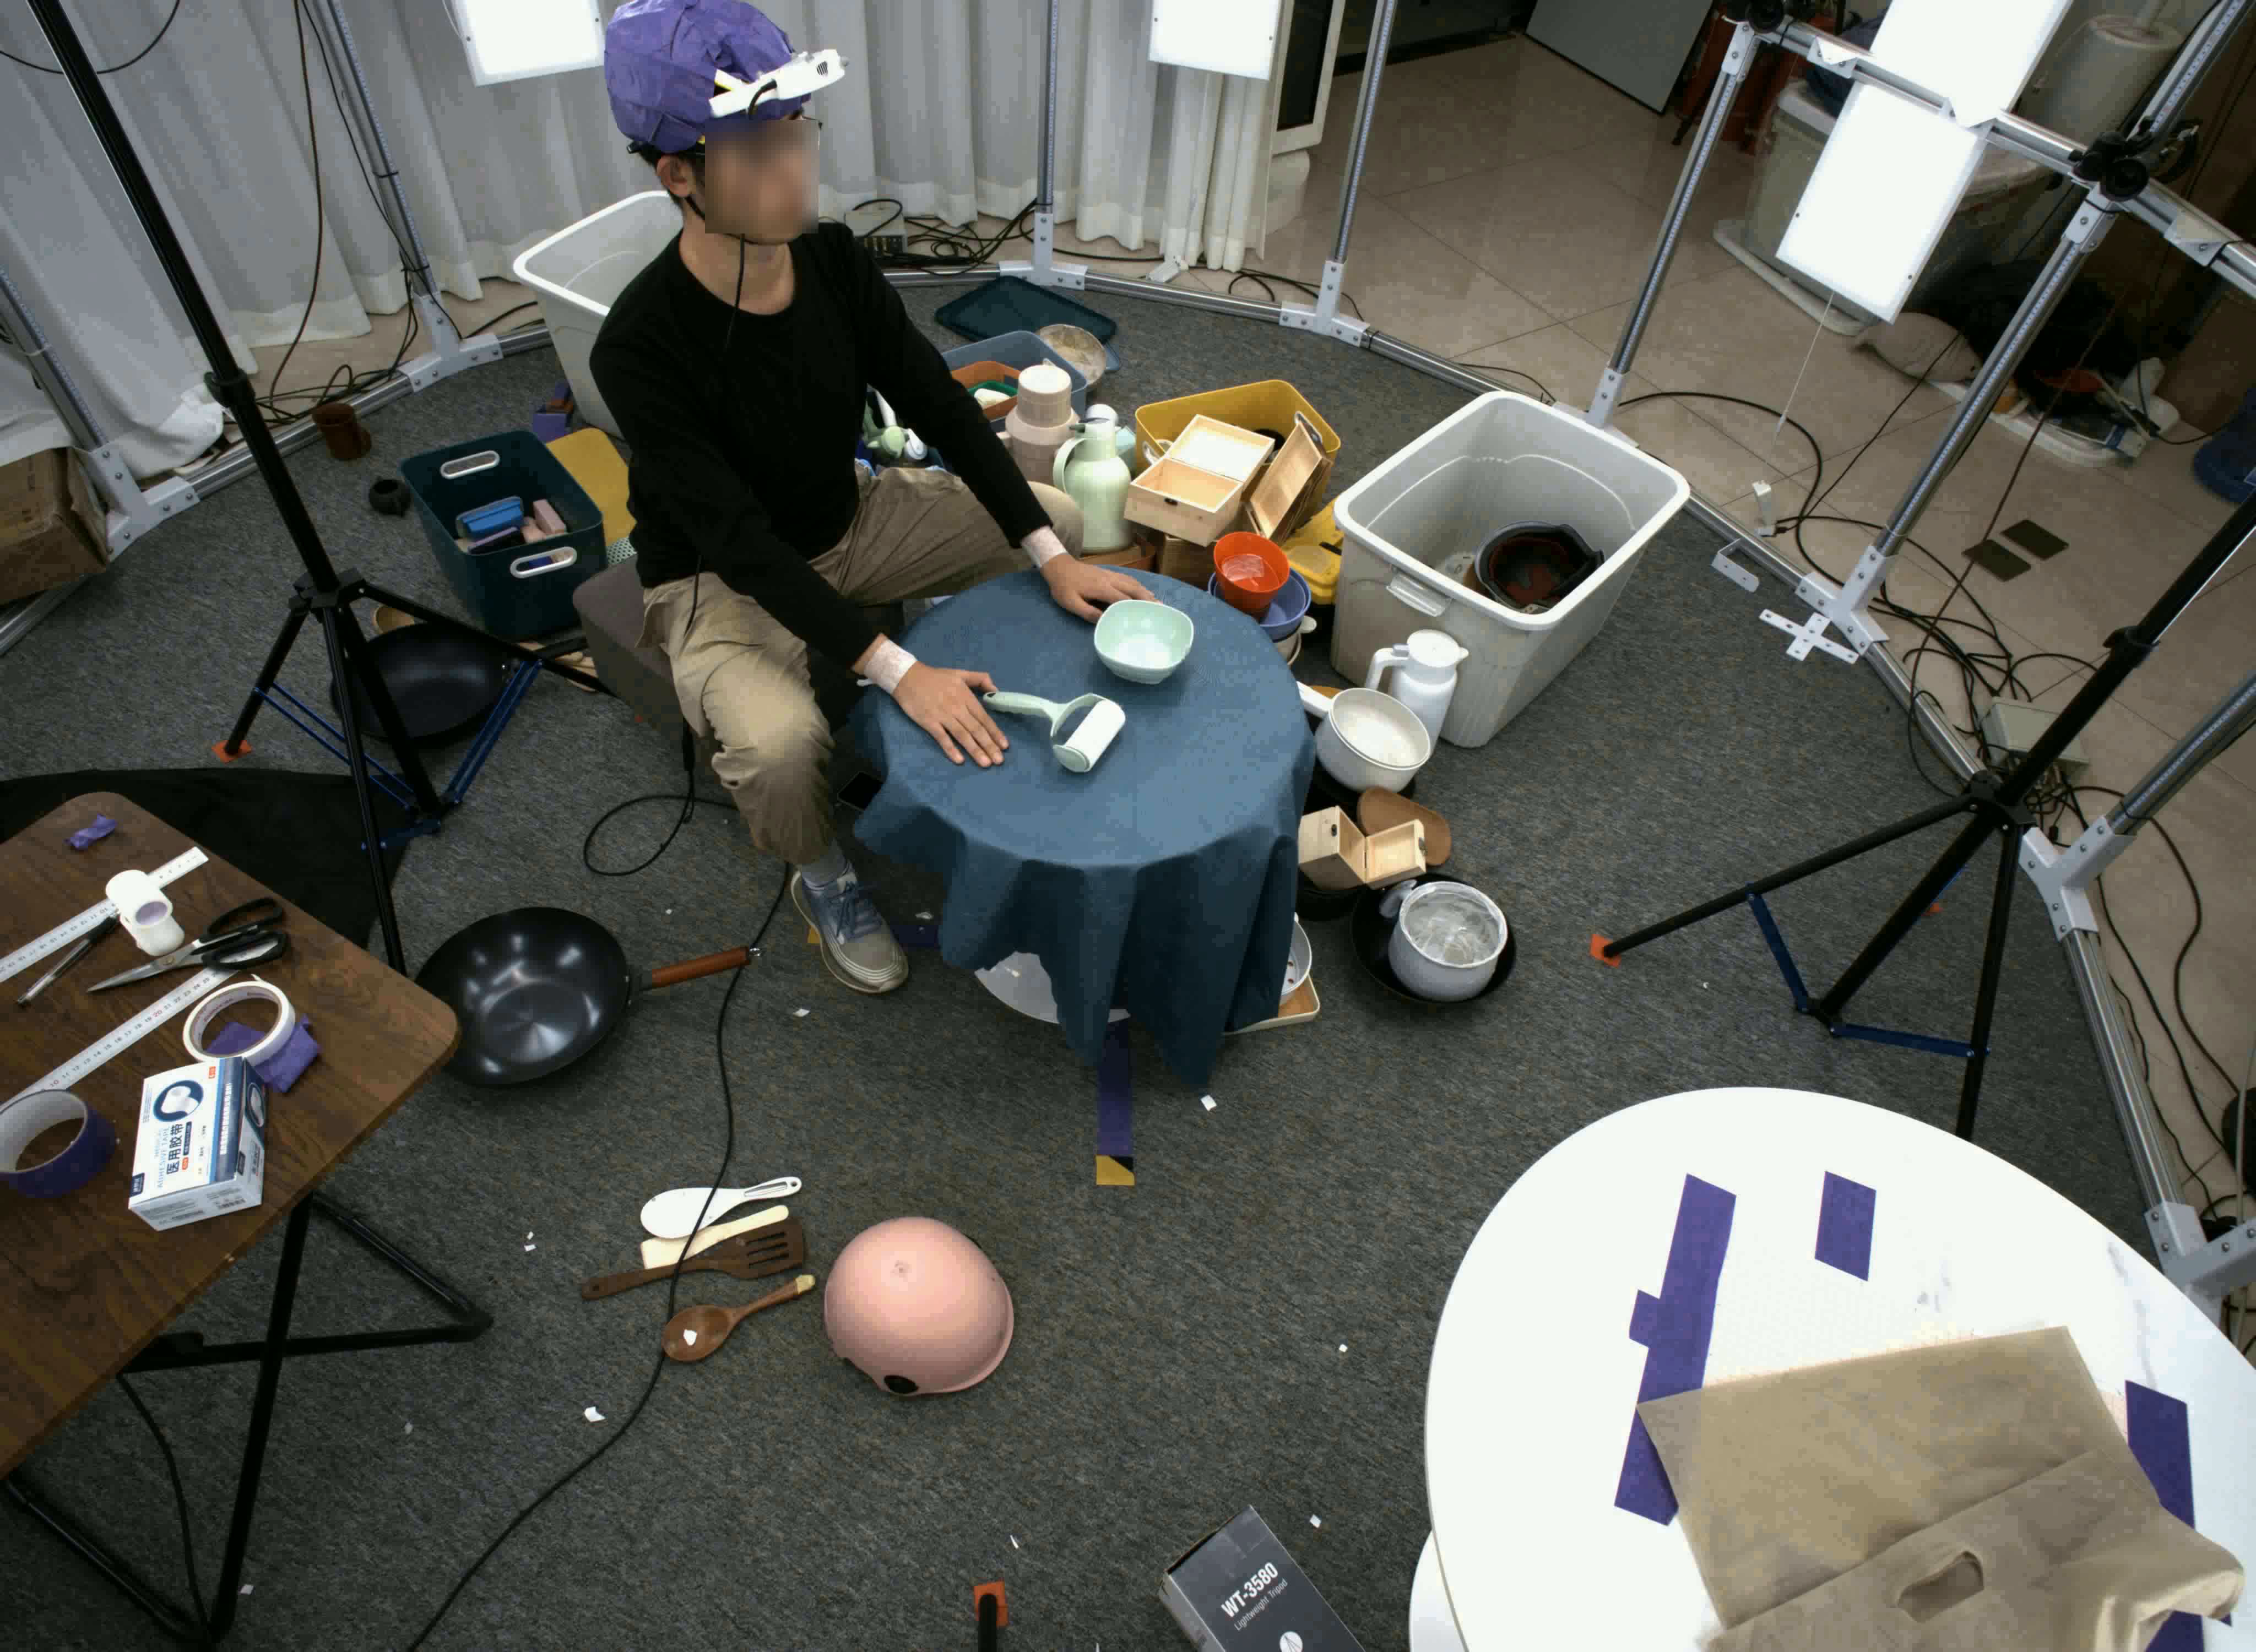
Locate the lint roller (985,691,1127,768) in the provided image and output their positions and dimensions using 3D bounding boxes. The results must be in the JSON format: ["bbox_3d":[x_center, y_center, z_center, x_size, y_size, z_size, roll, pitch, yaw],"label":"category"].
[{"bbox_3d":[-0.109,-0.156,1.769,0.199,0.047,0.118,23,52,17],"label":"lint roller"}]

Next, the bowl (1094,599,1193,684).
[{"bbox_3d":[0.021,-0.258,1.859,0.151,0.057,0.155,2,50,-3],"label":"bowl"}]
